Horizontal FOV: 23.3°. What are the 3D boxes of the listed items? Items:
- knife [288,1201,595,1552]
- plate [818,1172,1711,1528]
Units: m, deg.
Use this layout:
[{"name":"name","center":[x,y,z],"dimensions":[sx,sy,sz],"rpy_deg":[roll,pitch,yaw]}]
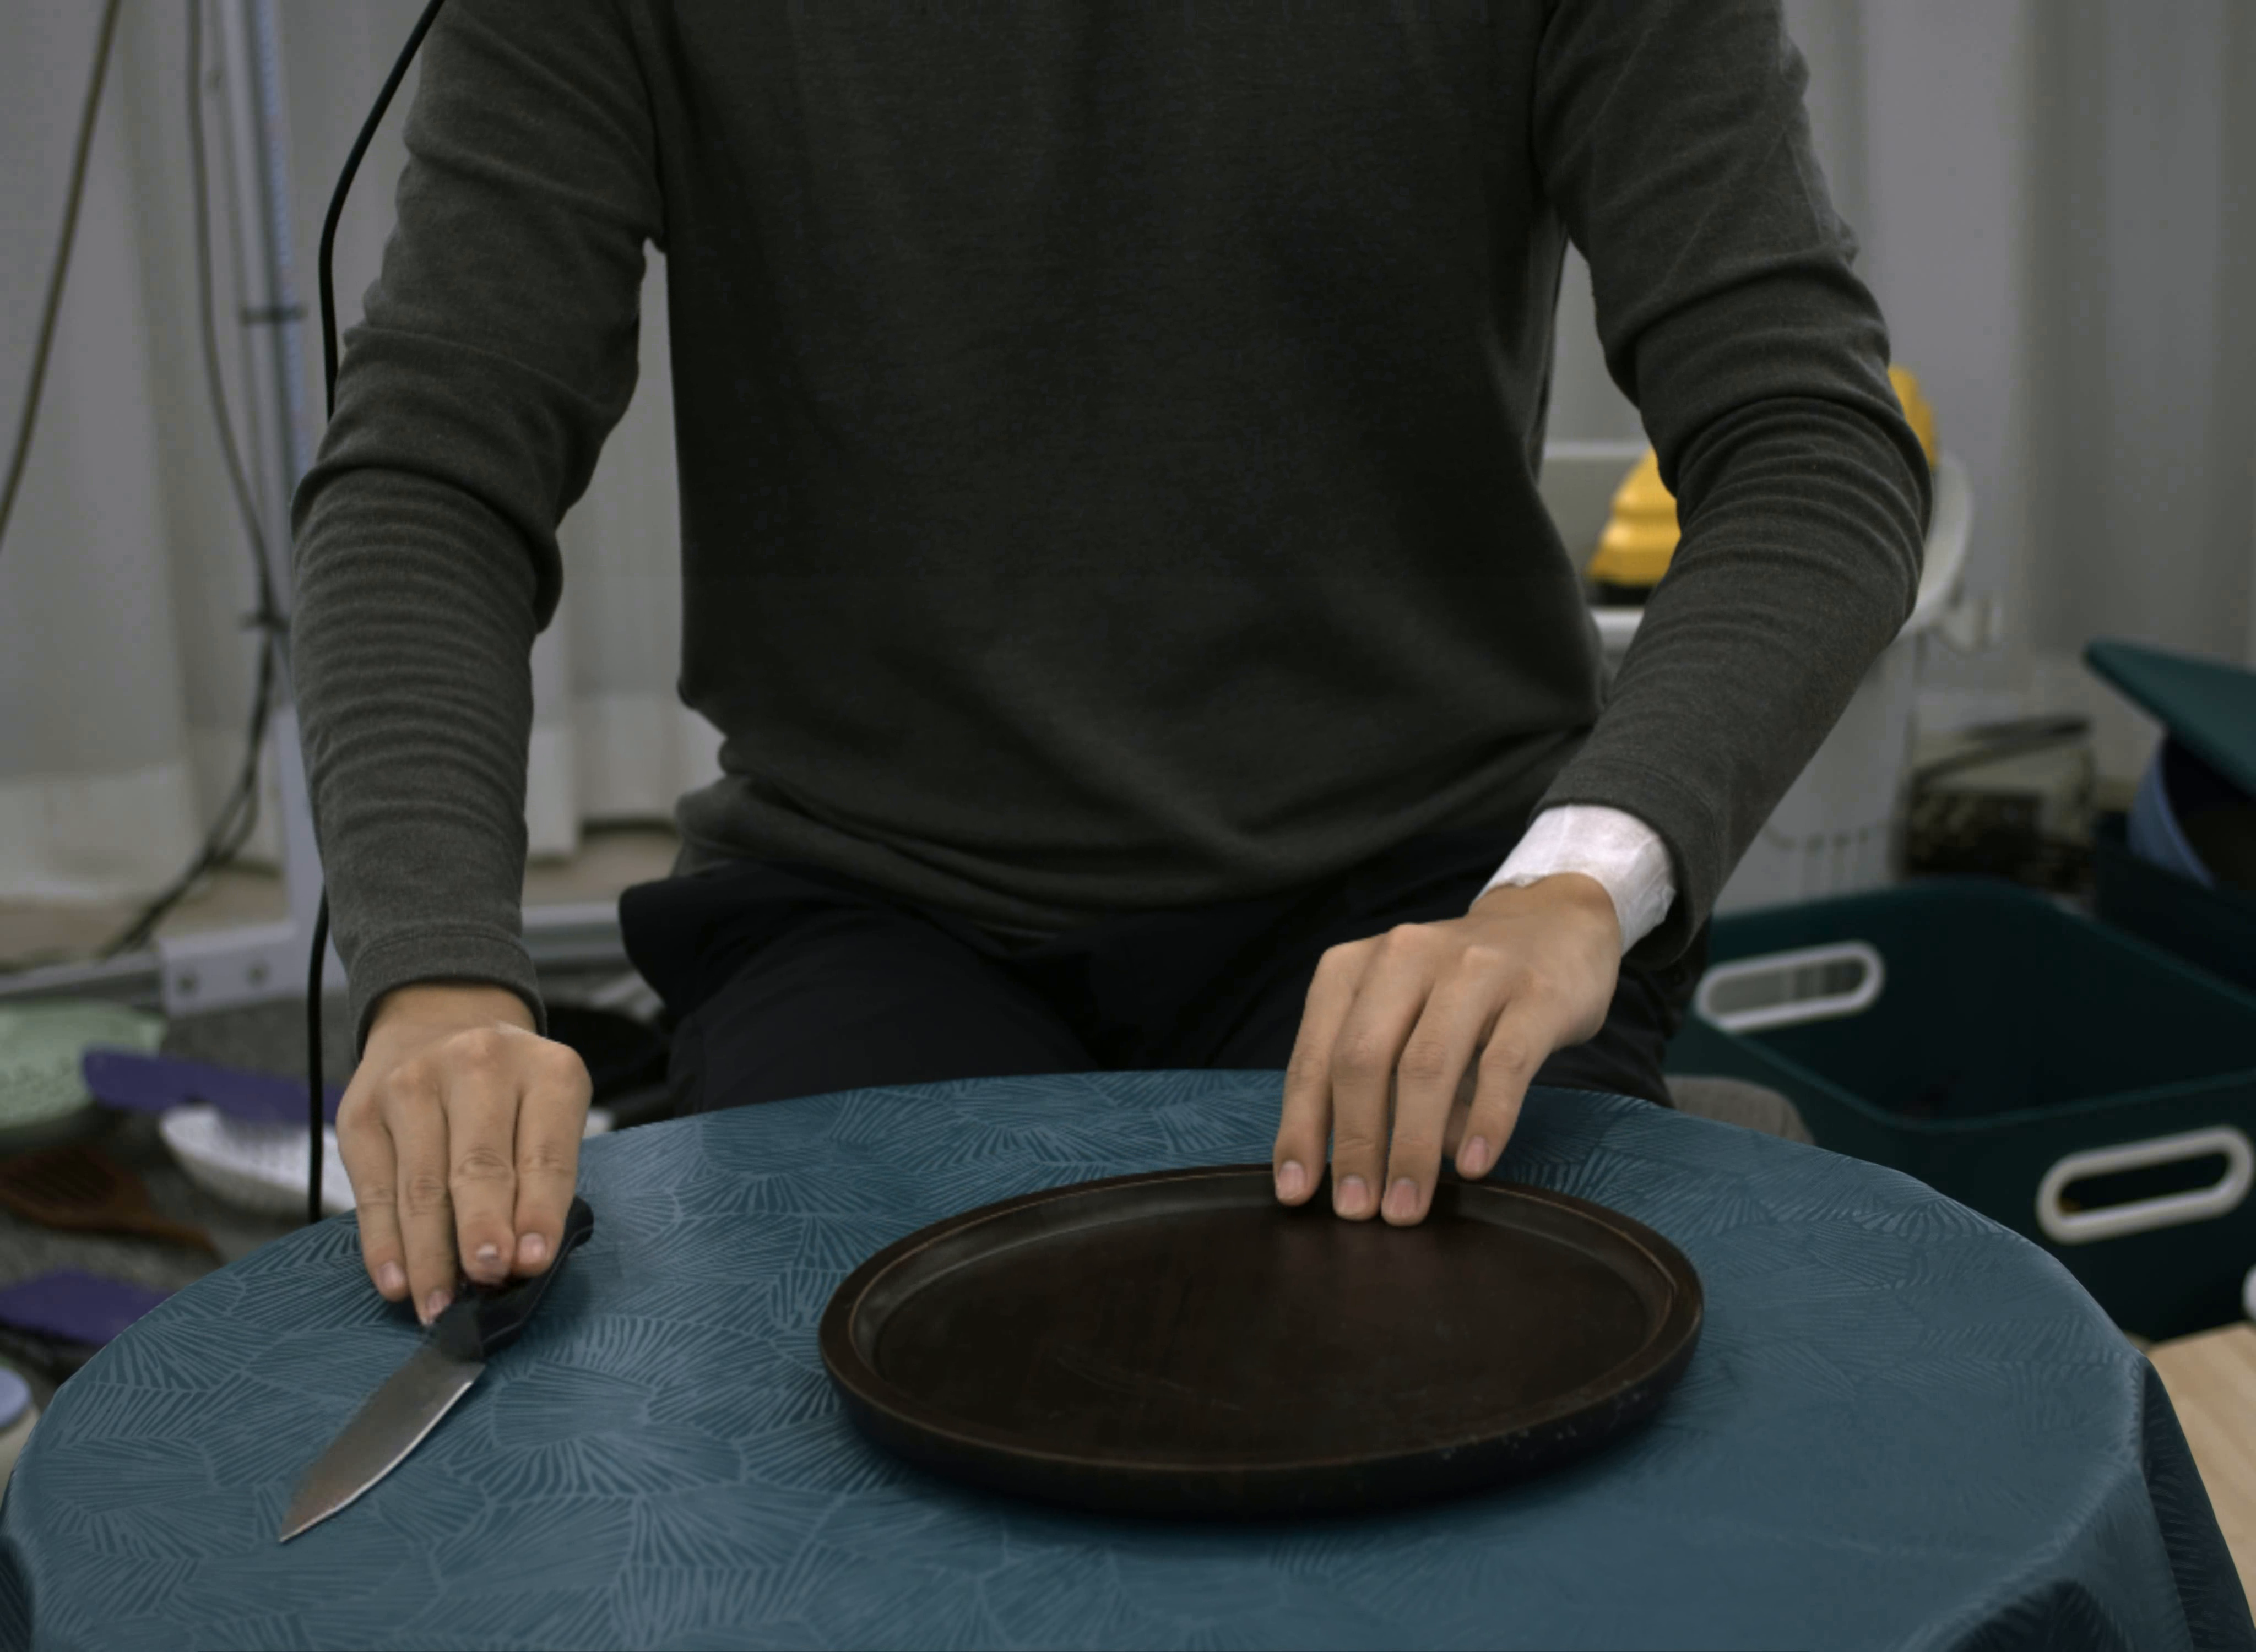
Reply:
[{"name":"knife","center":[-0.199,0.156,1.572],"dimensions":[0.024,0.016,0.239],"rpy_deg":[18,21,7]},{"name":"plate","center":[0.038,0.145,1.550],"dimensions":[0.254,0.029,0.256],"rpy_deg":[-2,16,0]}]
